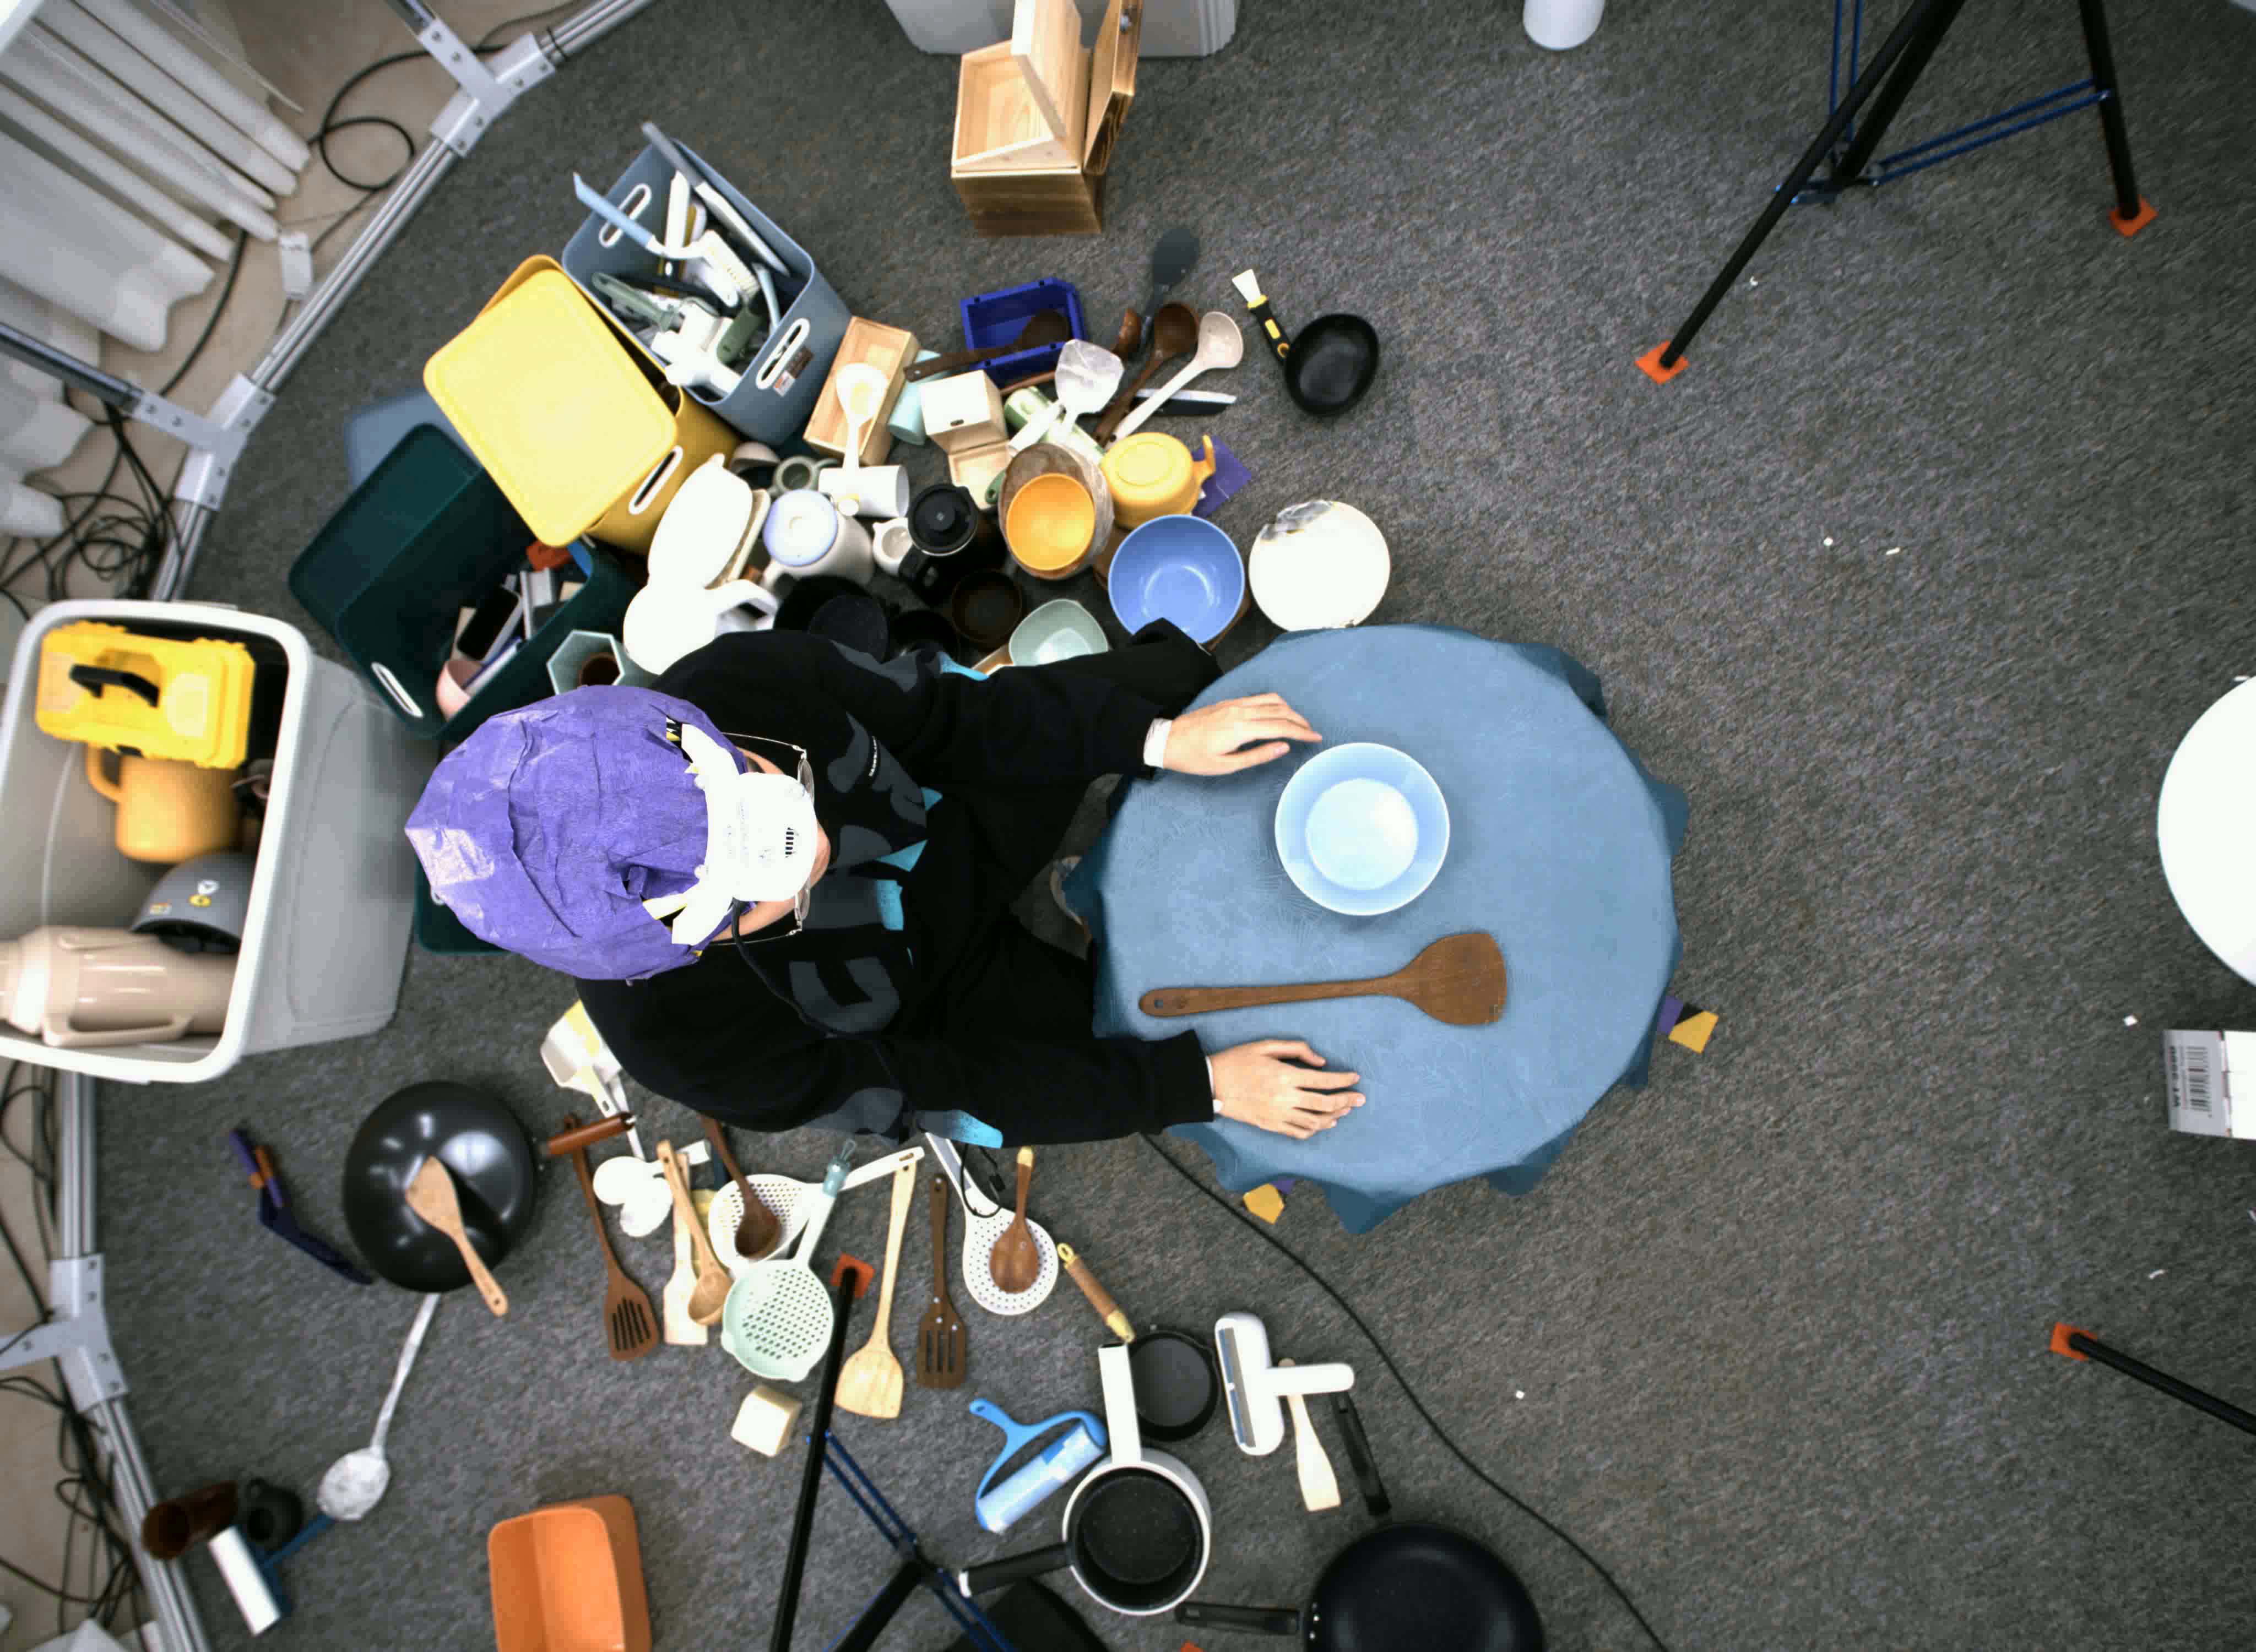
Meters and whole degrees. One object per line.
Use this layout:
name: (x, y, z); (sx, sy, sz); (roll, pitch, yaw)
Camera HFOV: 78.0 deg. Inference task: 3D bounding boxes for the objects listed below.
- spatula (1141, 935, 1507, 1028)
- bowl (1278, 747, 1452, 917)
spatula: (0.203, 0.176, 1.463); (0.388, 0.016, 0.095); (-6, 85, 10)
bowl: (0.247, 0.008, 1.438); (0.177, 0.070, 0.175); (-1, 86, 12)
